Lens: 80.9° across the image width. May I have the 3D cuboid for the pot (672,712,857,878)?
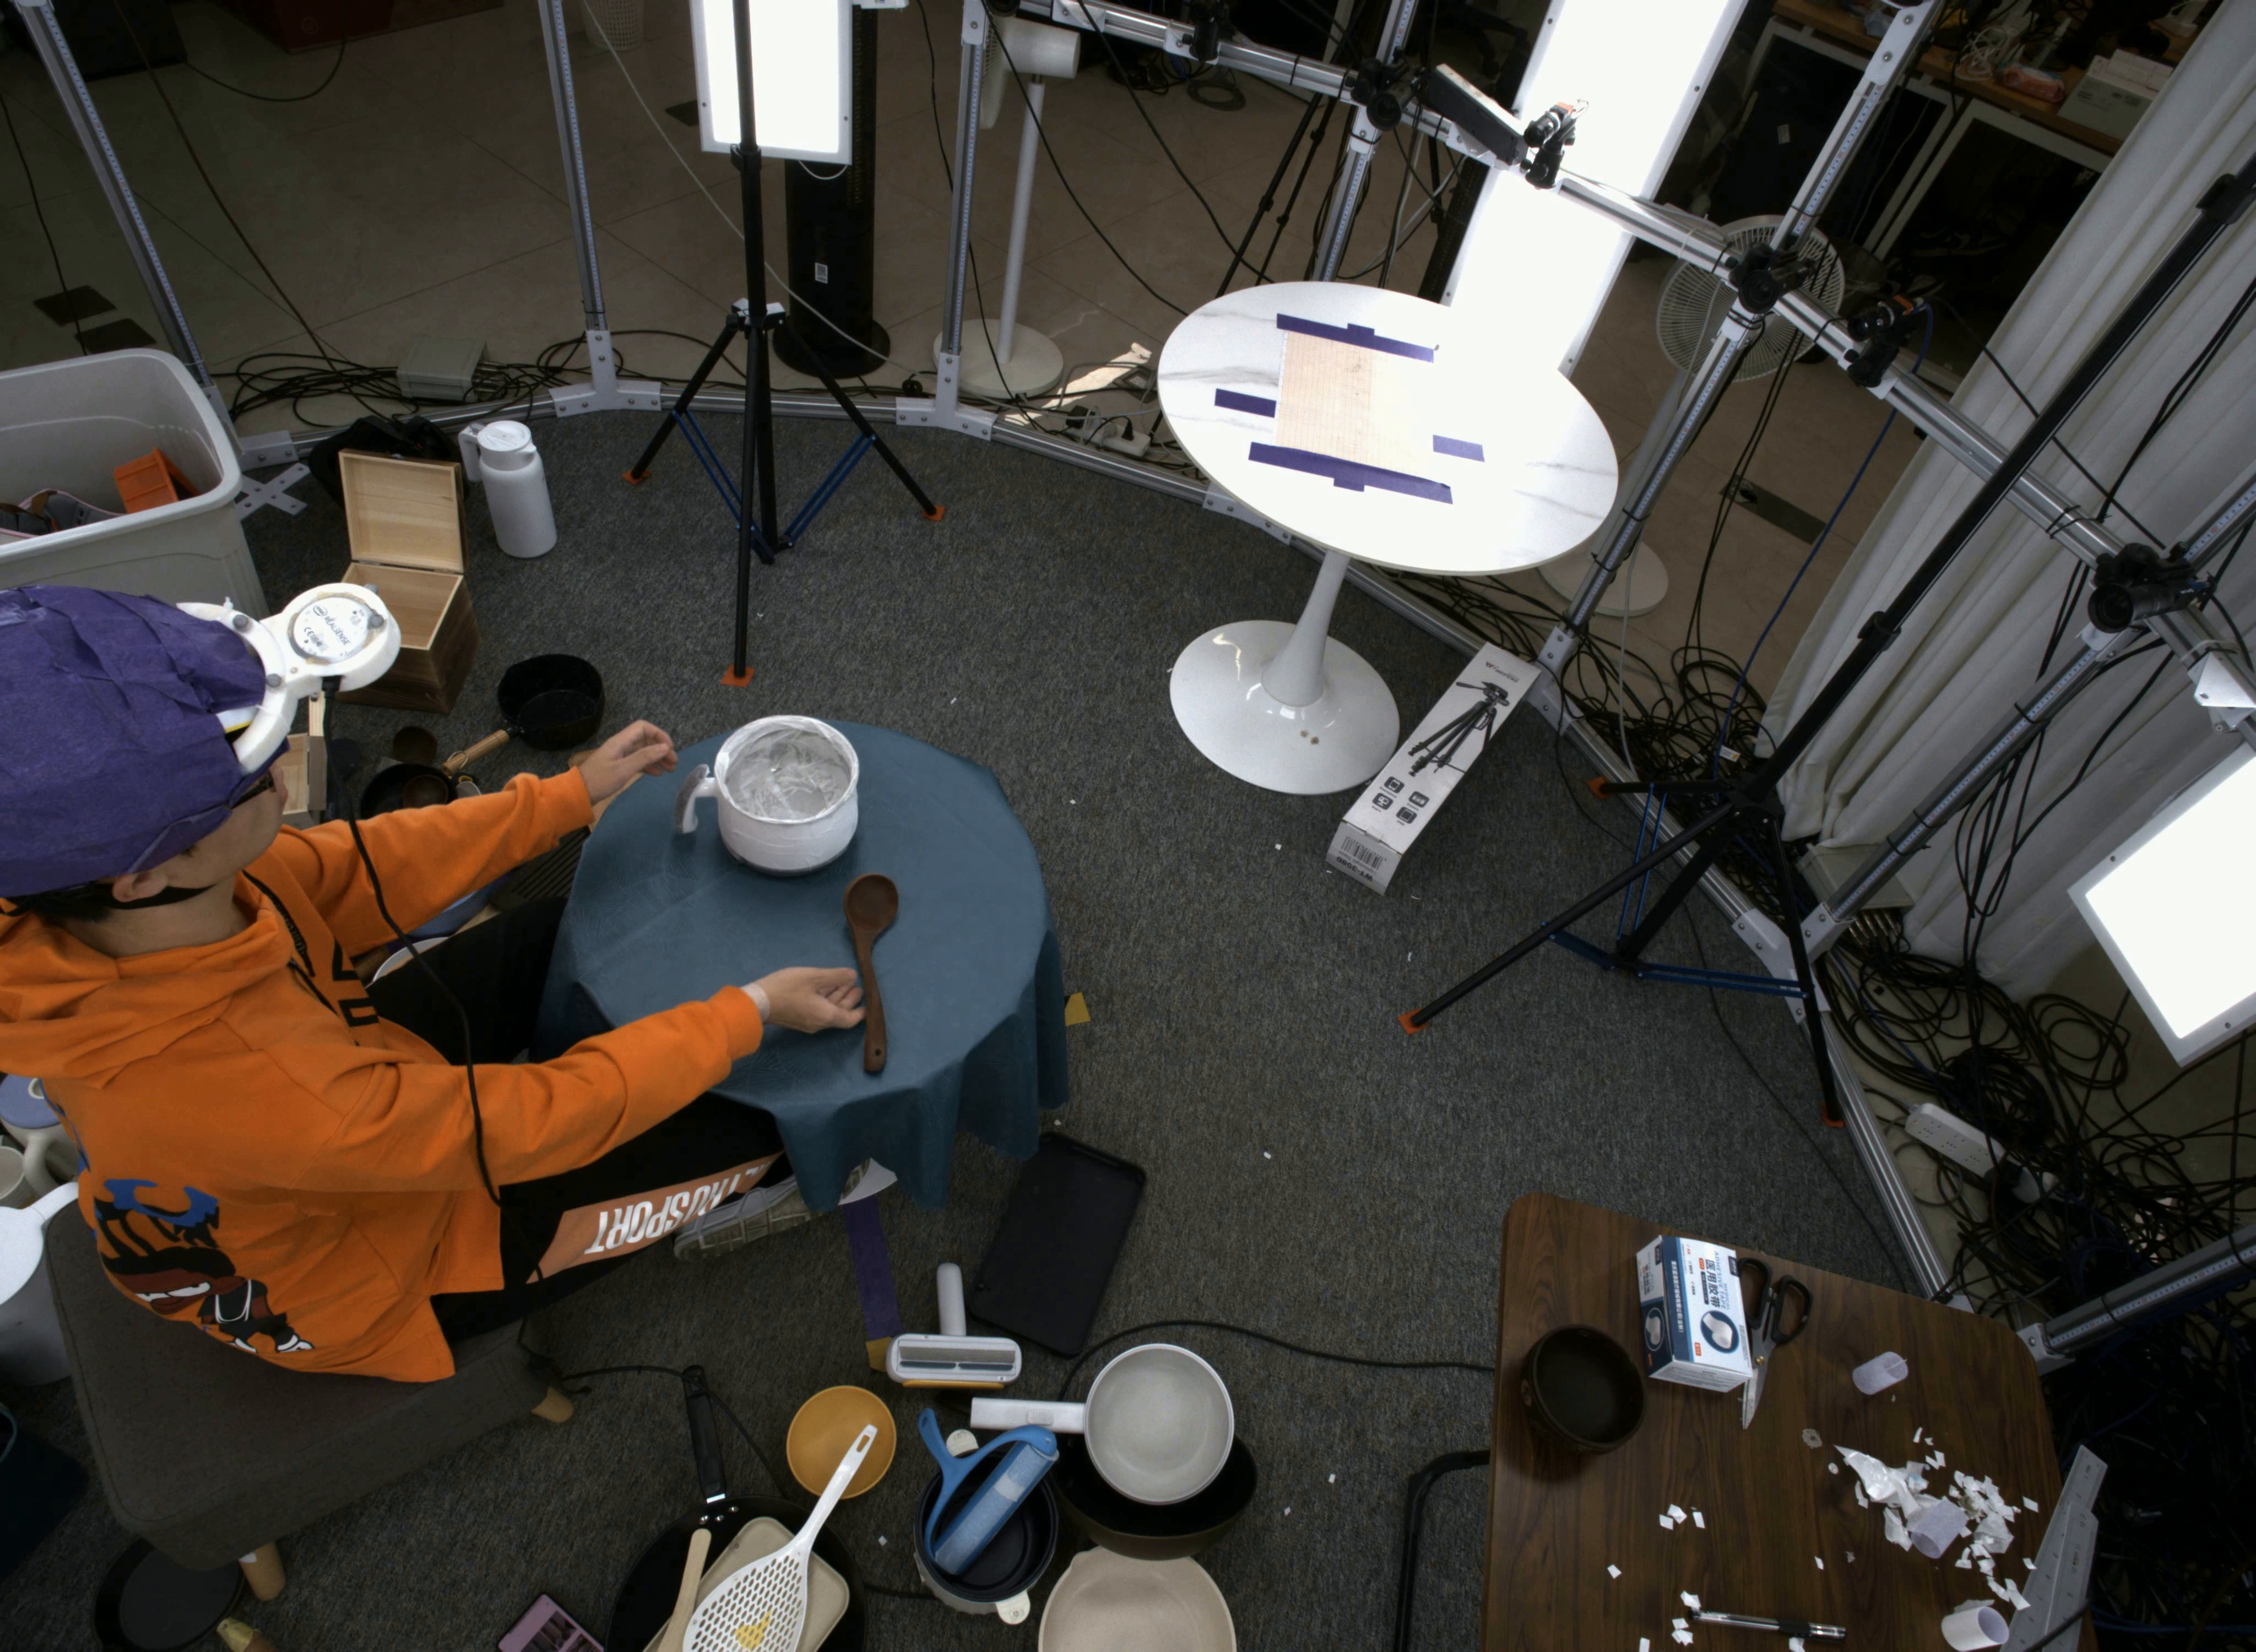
[{"bbox_3d":[-0.461,-0.034,1.641,0.234,0.139,0.174,-3,53,-17],"label":"pot"}]

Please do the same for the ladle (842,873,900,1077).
[{"bbox_3d":[-0.305,0.172,1.577,0.078,0.065,0.254,15,46,-35],"label":"ladle"}]
